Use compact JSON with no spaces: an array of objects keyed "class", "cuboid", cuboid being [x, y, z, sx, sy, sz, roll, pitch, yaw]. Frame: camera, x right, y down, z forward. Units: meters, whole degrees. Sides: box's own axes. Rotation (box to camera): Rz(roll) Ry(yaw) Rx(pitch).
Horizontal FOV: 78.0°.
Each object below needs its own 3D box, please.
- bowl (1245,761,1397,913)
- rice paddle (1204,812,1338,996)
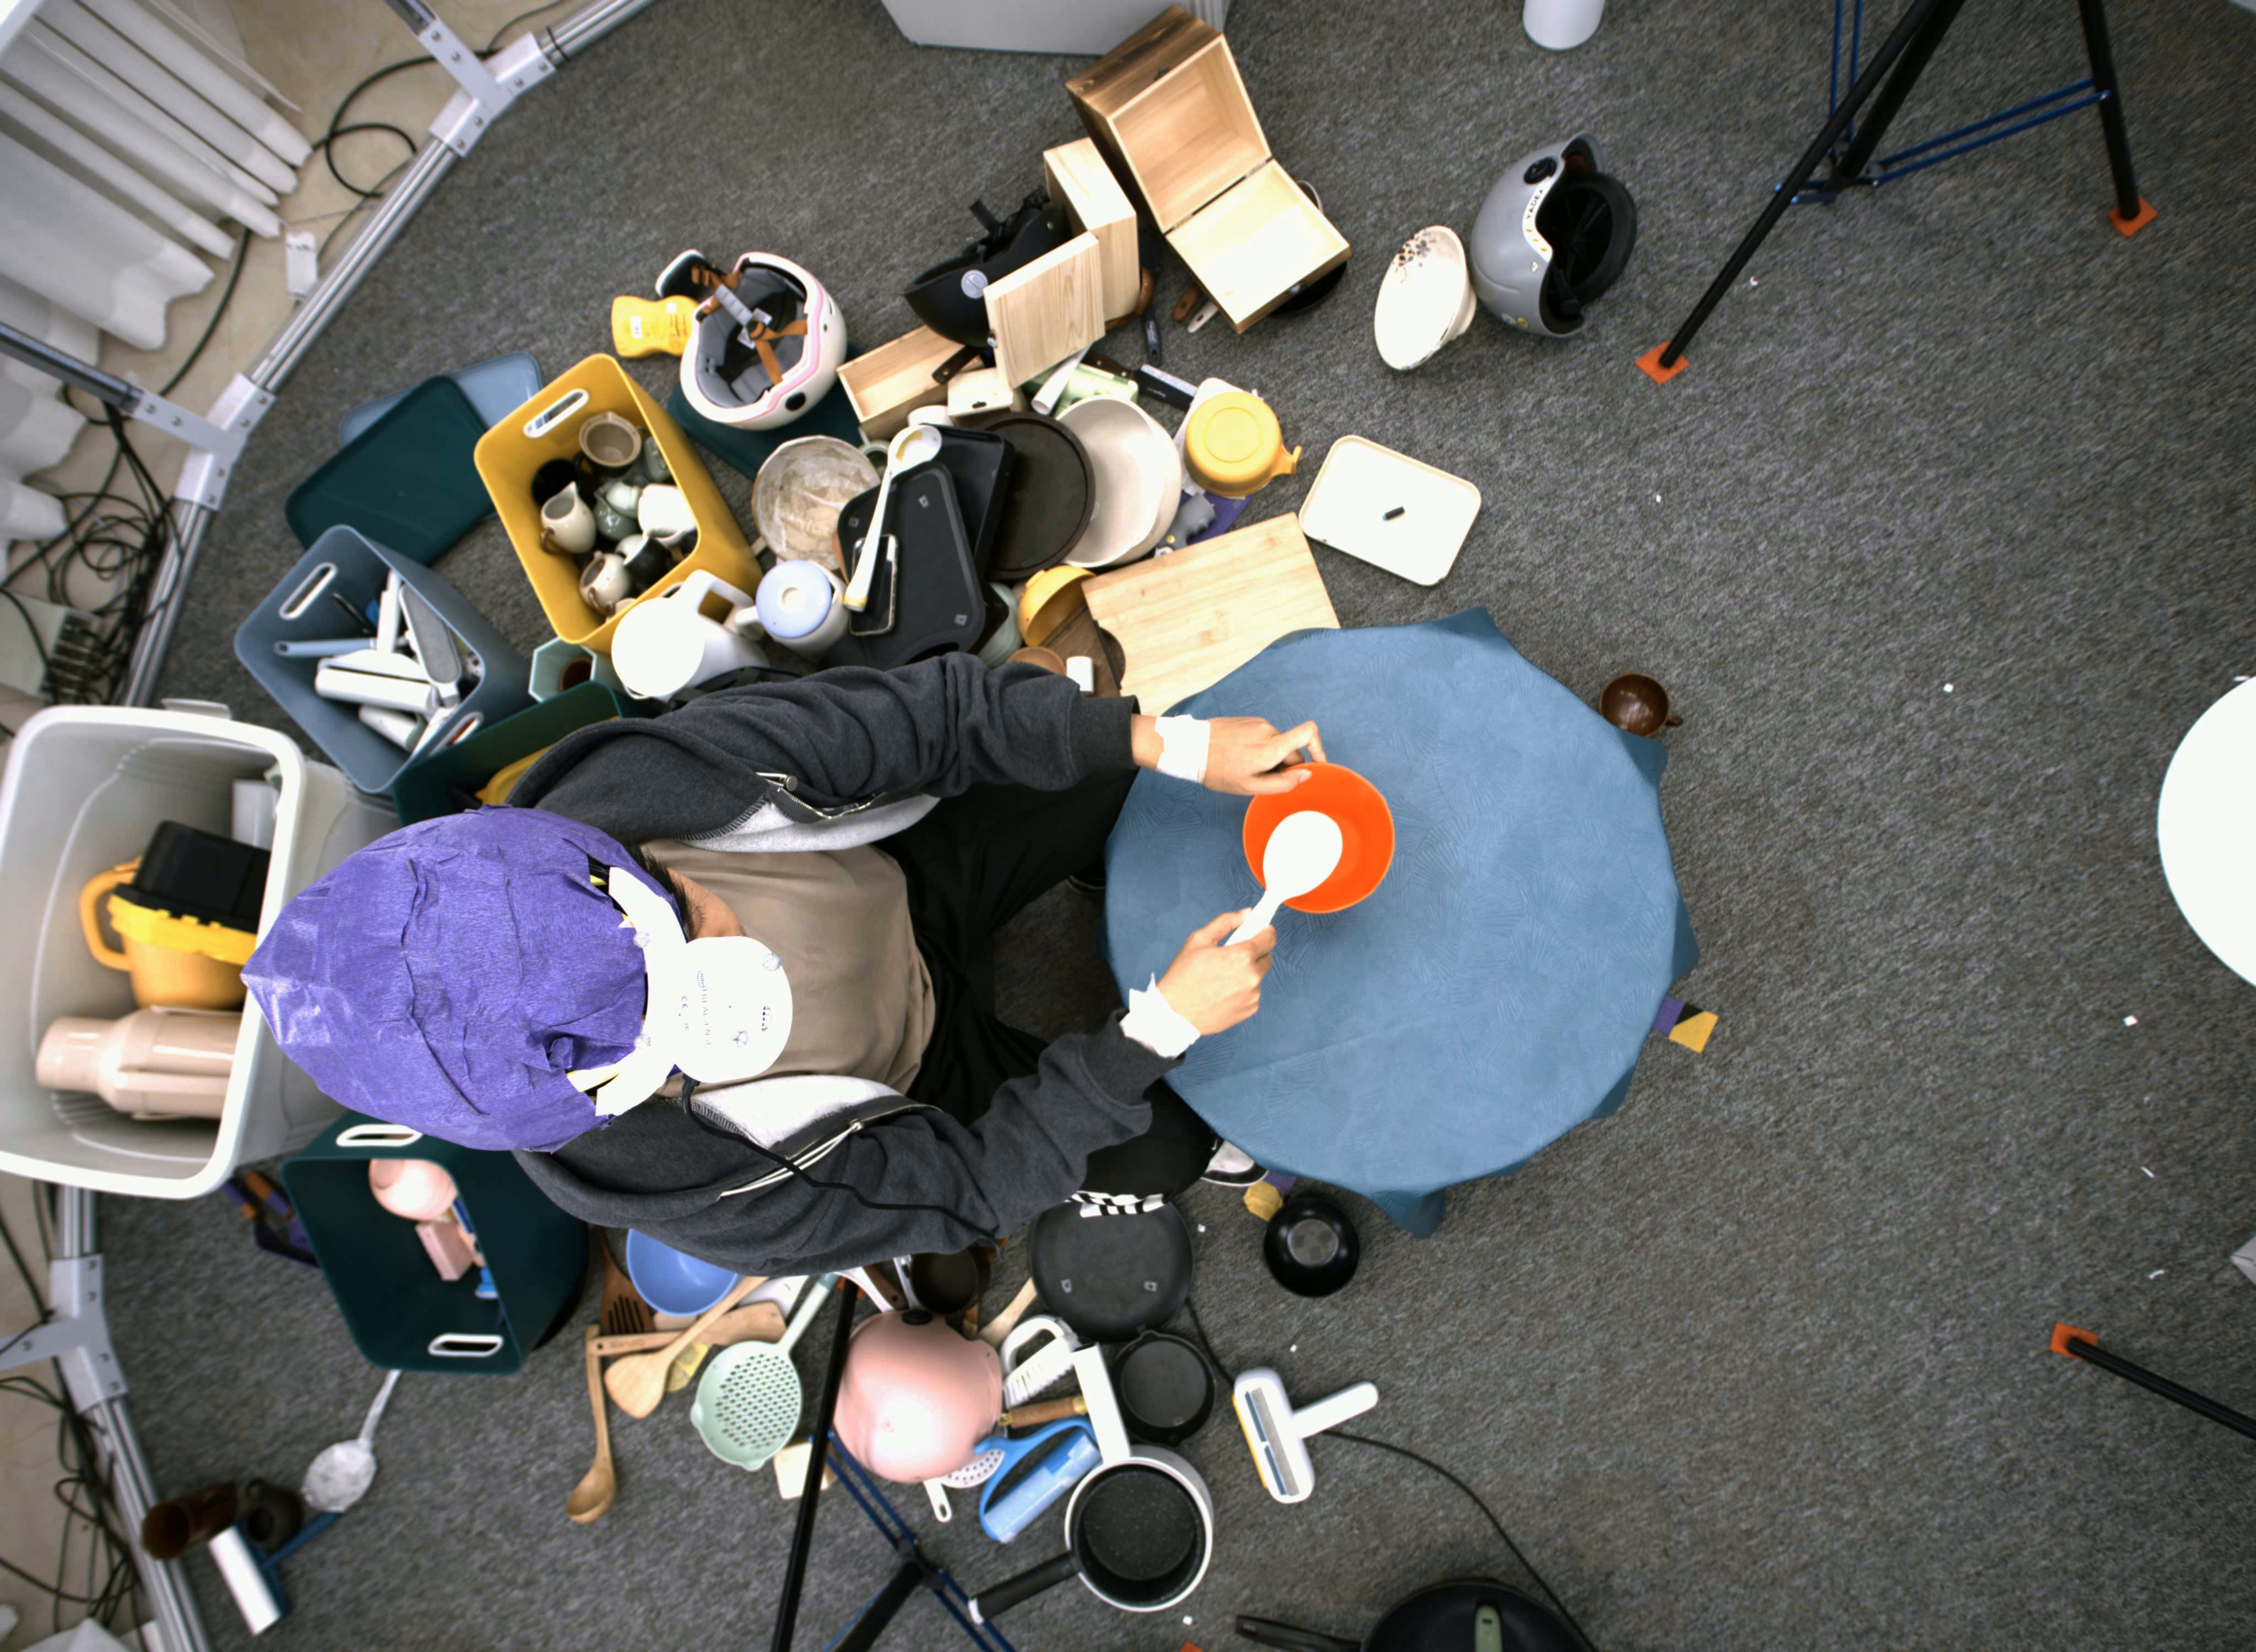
[{"class":"bowl","cuboid":[0.196,0.010,1.379,0.148,0.104,0.148,1,93,14]},{"class":"rice paddle","cuboid":[0.136,0.069,1.322,0.068,0.030,0.202,30,73,10]}]
